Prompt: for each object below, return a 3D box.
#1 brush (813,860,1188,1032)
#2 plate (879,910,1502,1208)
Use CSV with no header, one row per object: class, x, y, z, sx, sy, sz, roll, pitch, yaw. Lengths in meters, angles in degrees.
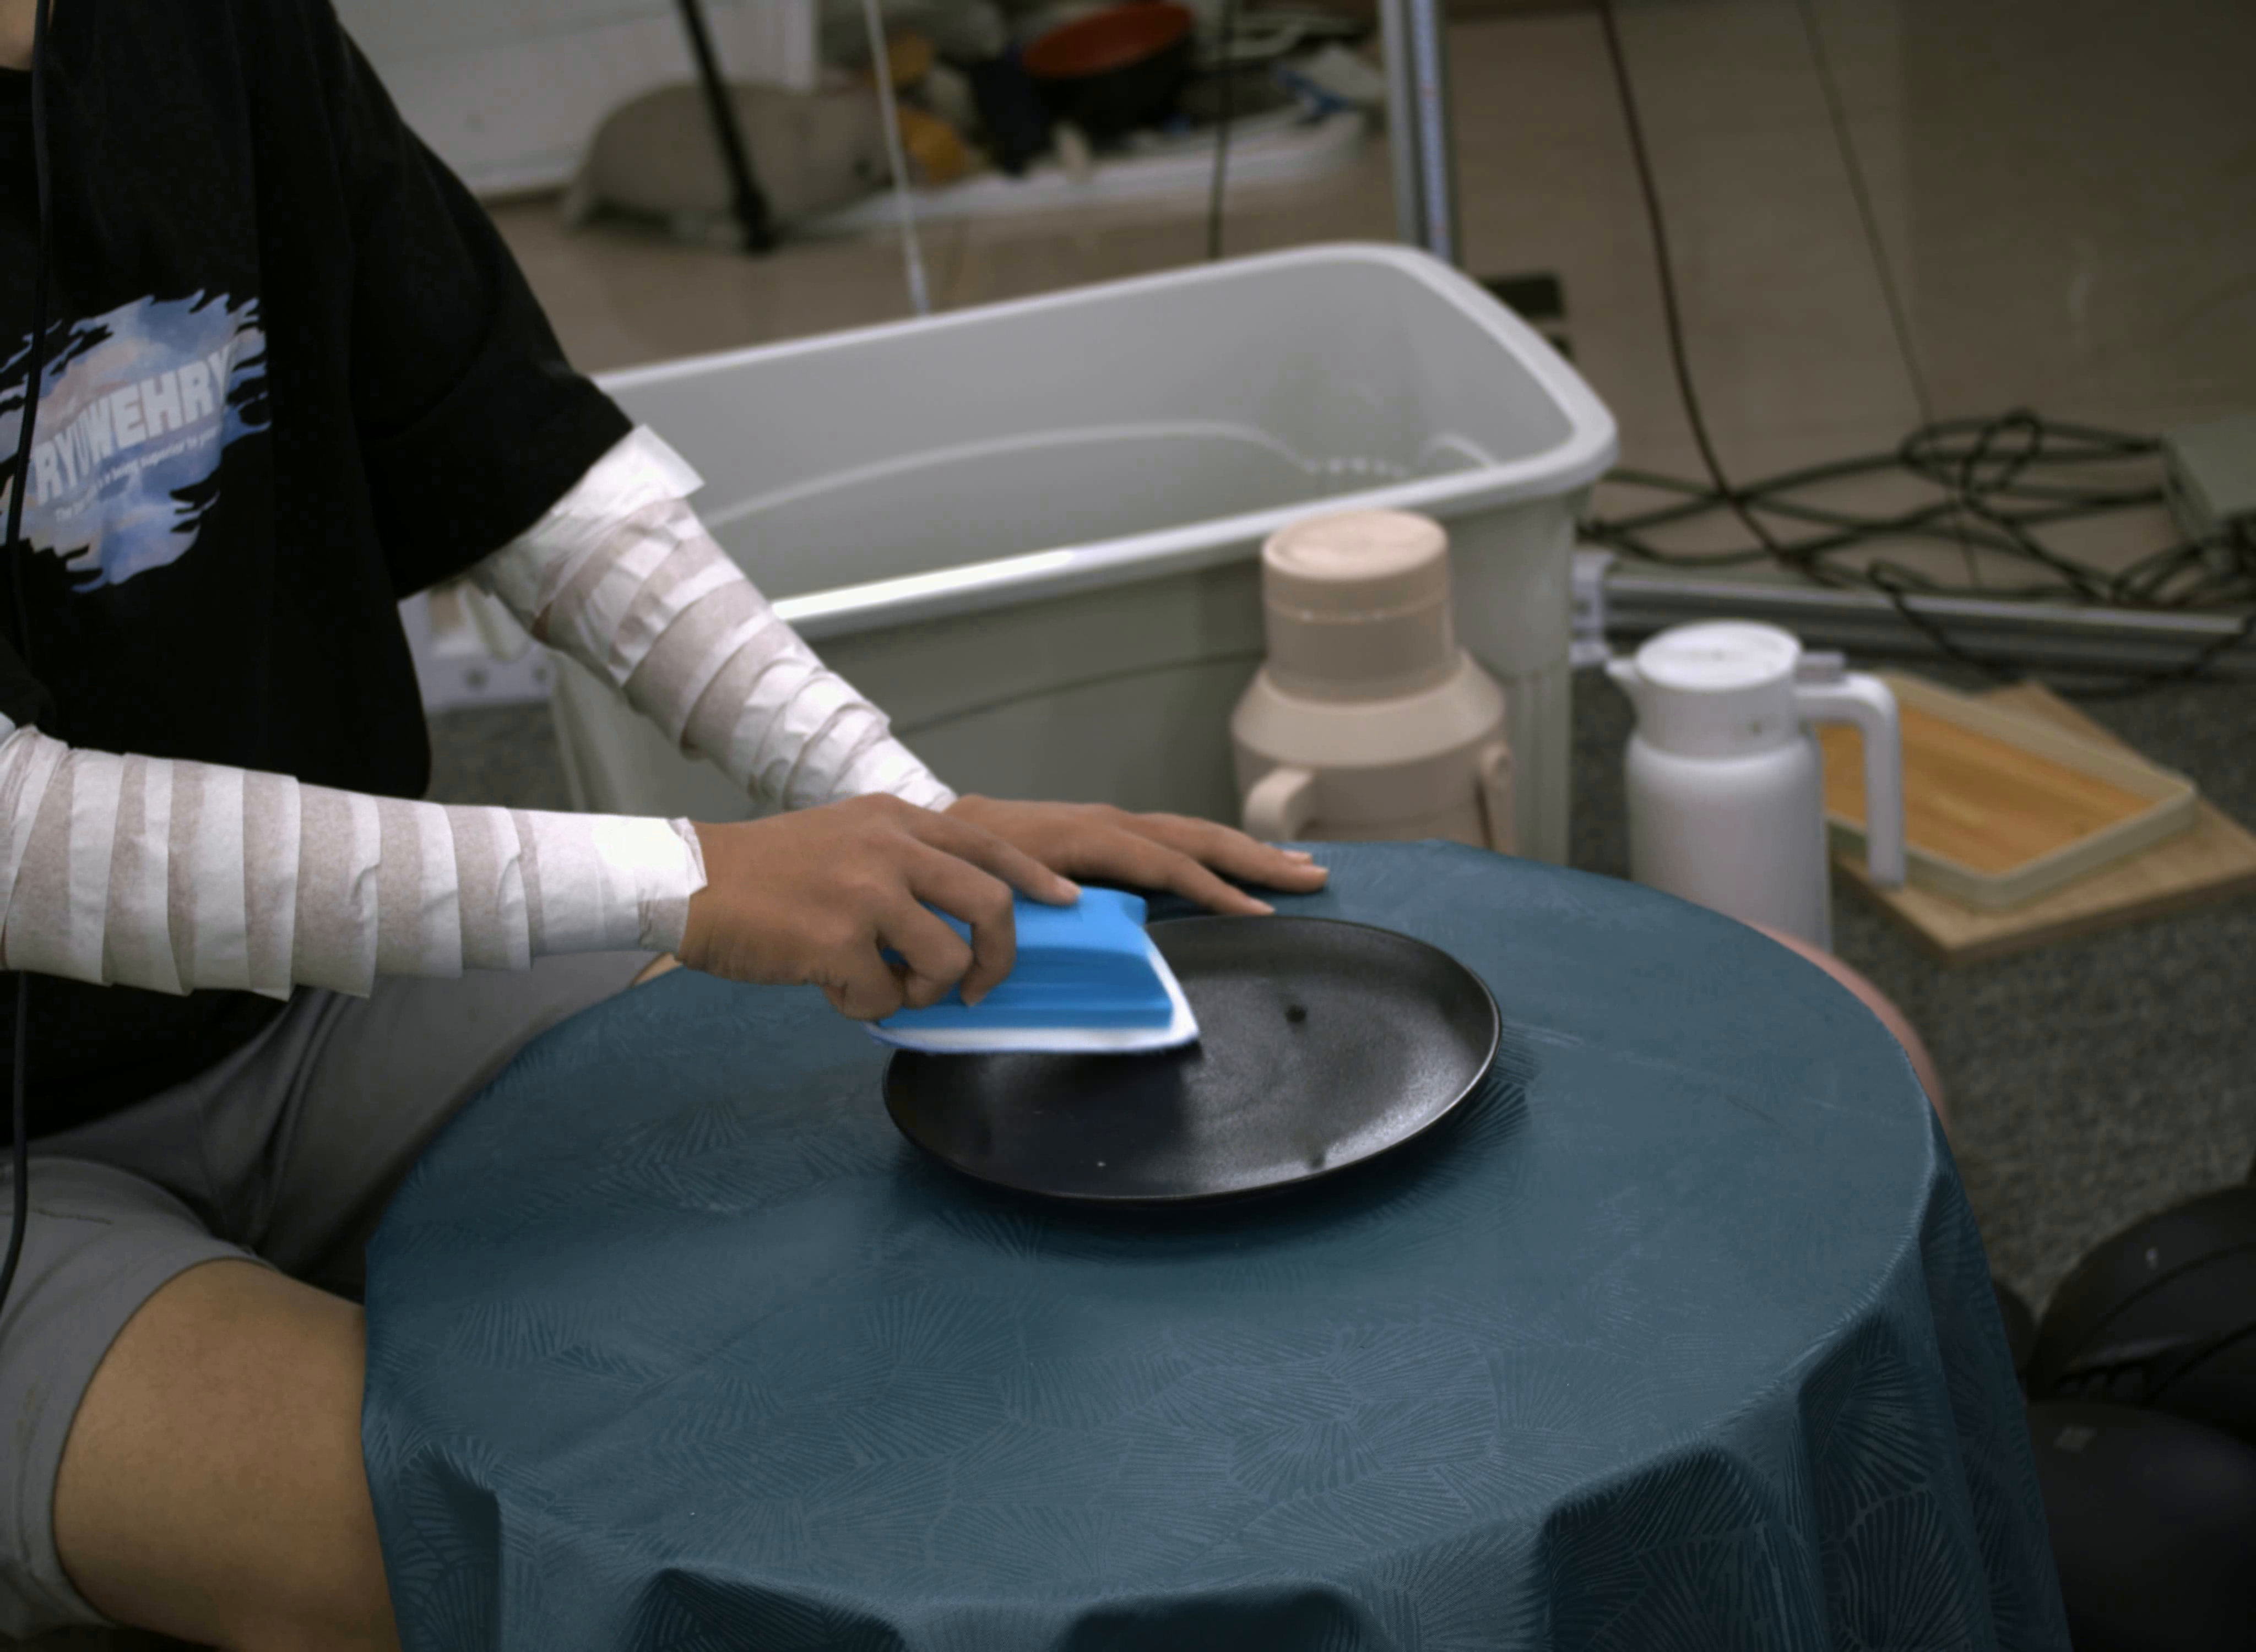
brush,-0.048,0.046,2.225,0.144,0.057,0.082,3,28,-23
plate,0.025,0.096,2.206,0.244,0.024,0.241,-5,25,3
